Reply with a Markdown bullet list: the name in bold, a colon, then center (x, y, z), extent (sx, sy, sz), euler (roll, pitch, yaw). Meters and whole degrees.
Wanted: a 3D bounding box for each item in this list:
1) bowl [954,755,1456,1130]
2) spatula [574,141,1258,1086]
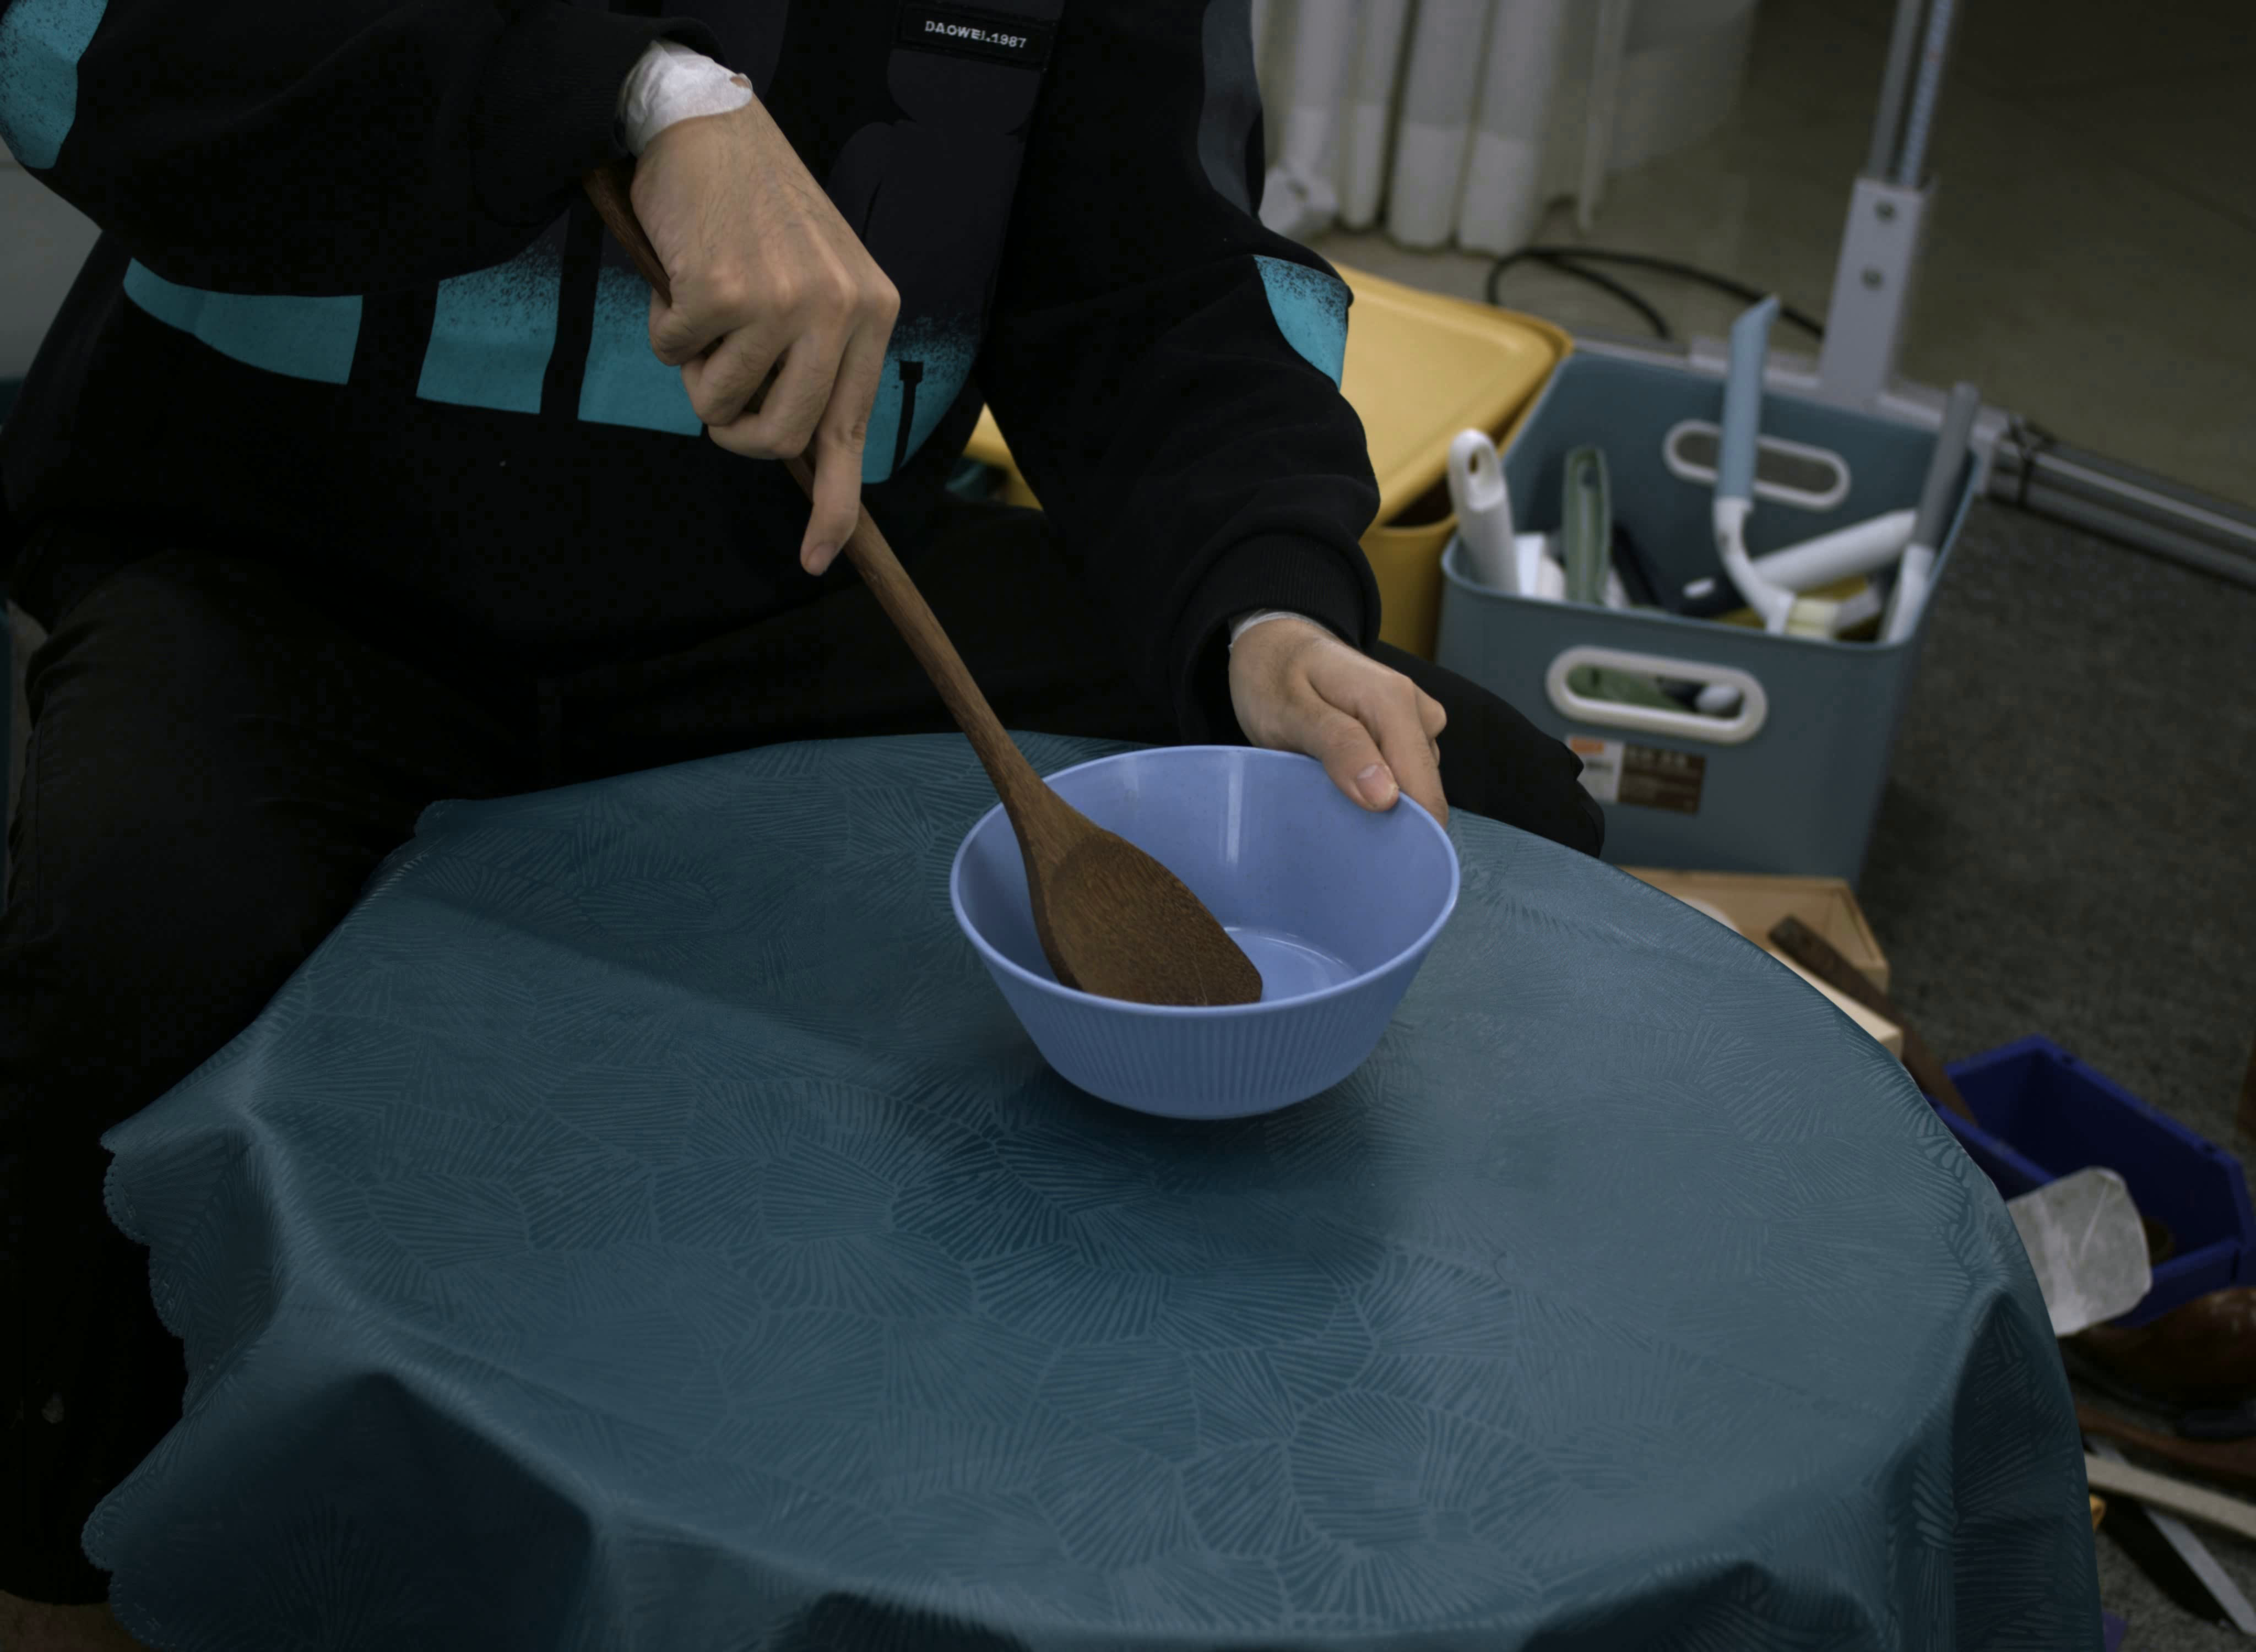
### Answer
- **bowl**: center (0.029, 0.047, 1.850), extent (0.175, 0.070, 0.177), euler (-5, 31, 3)
- **spatula**: center (-0.076, -0.076, 1.829), extent (0.386, 0.016, 0.096), euler (56, 33, -3)
